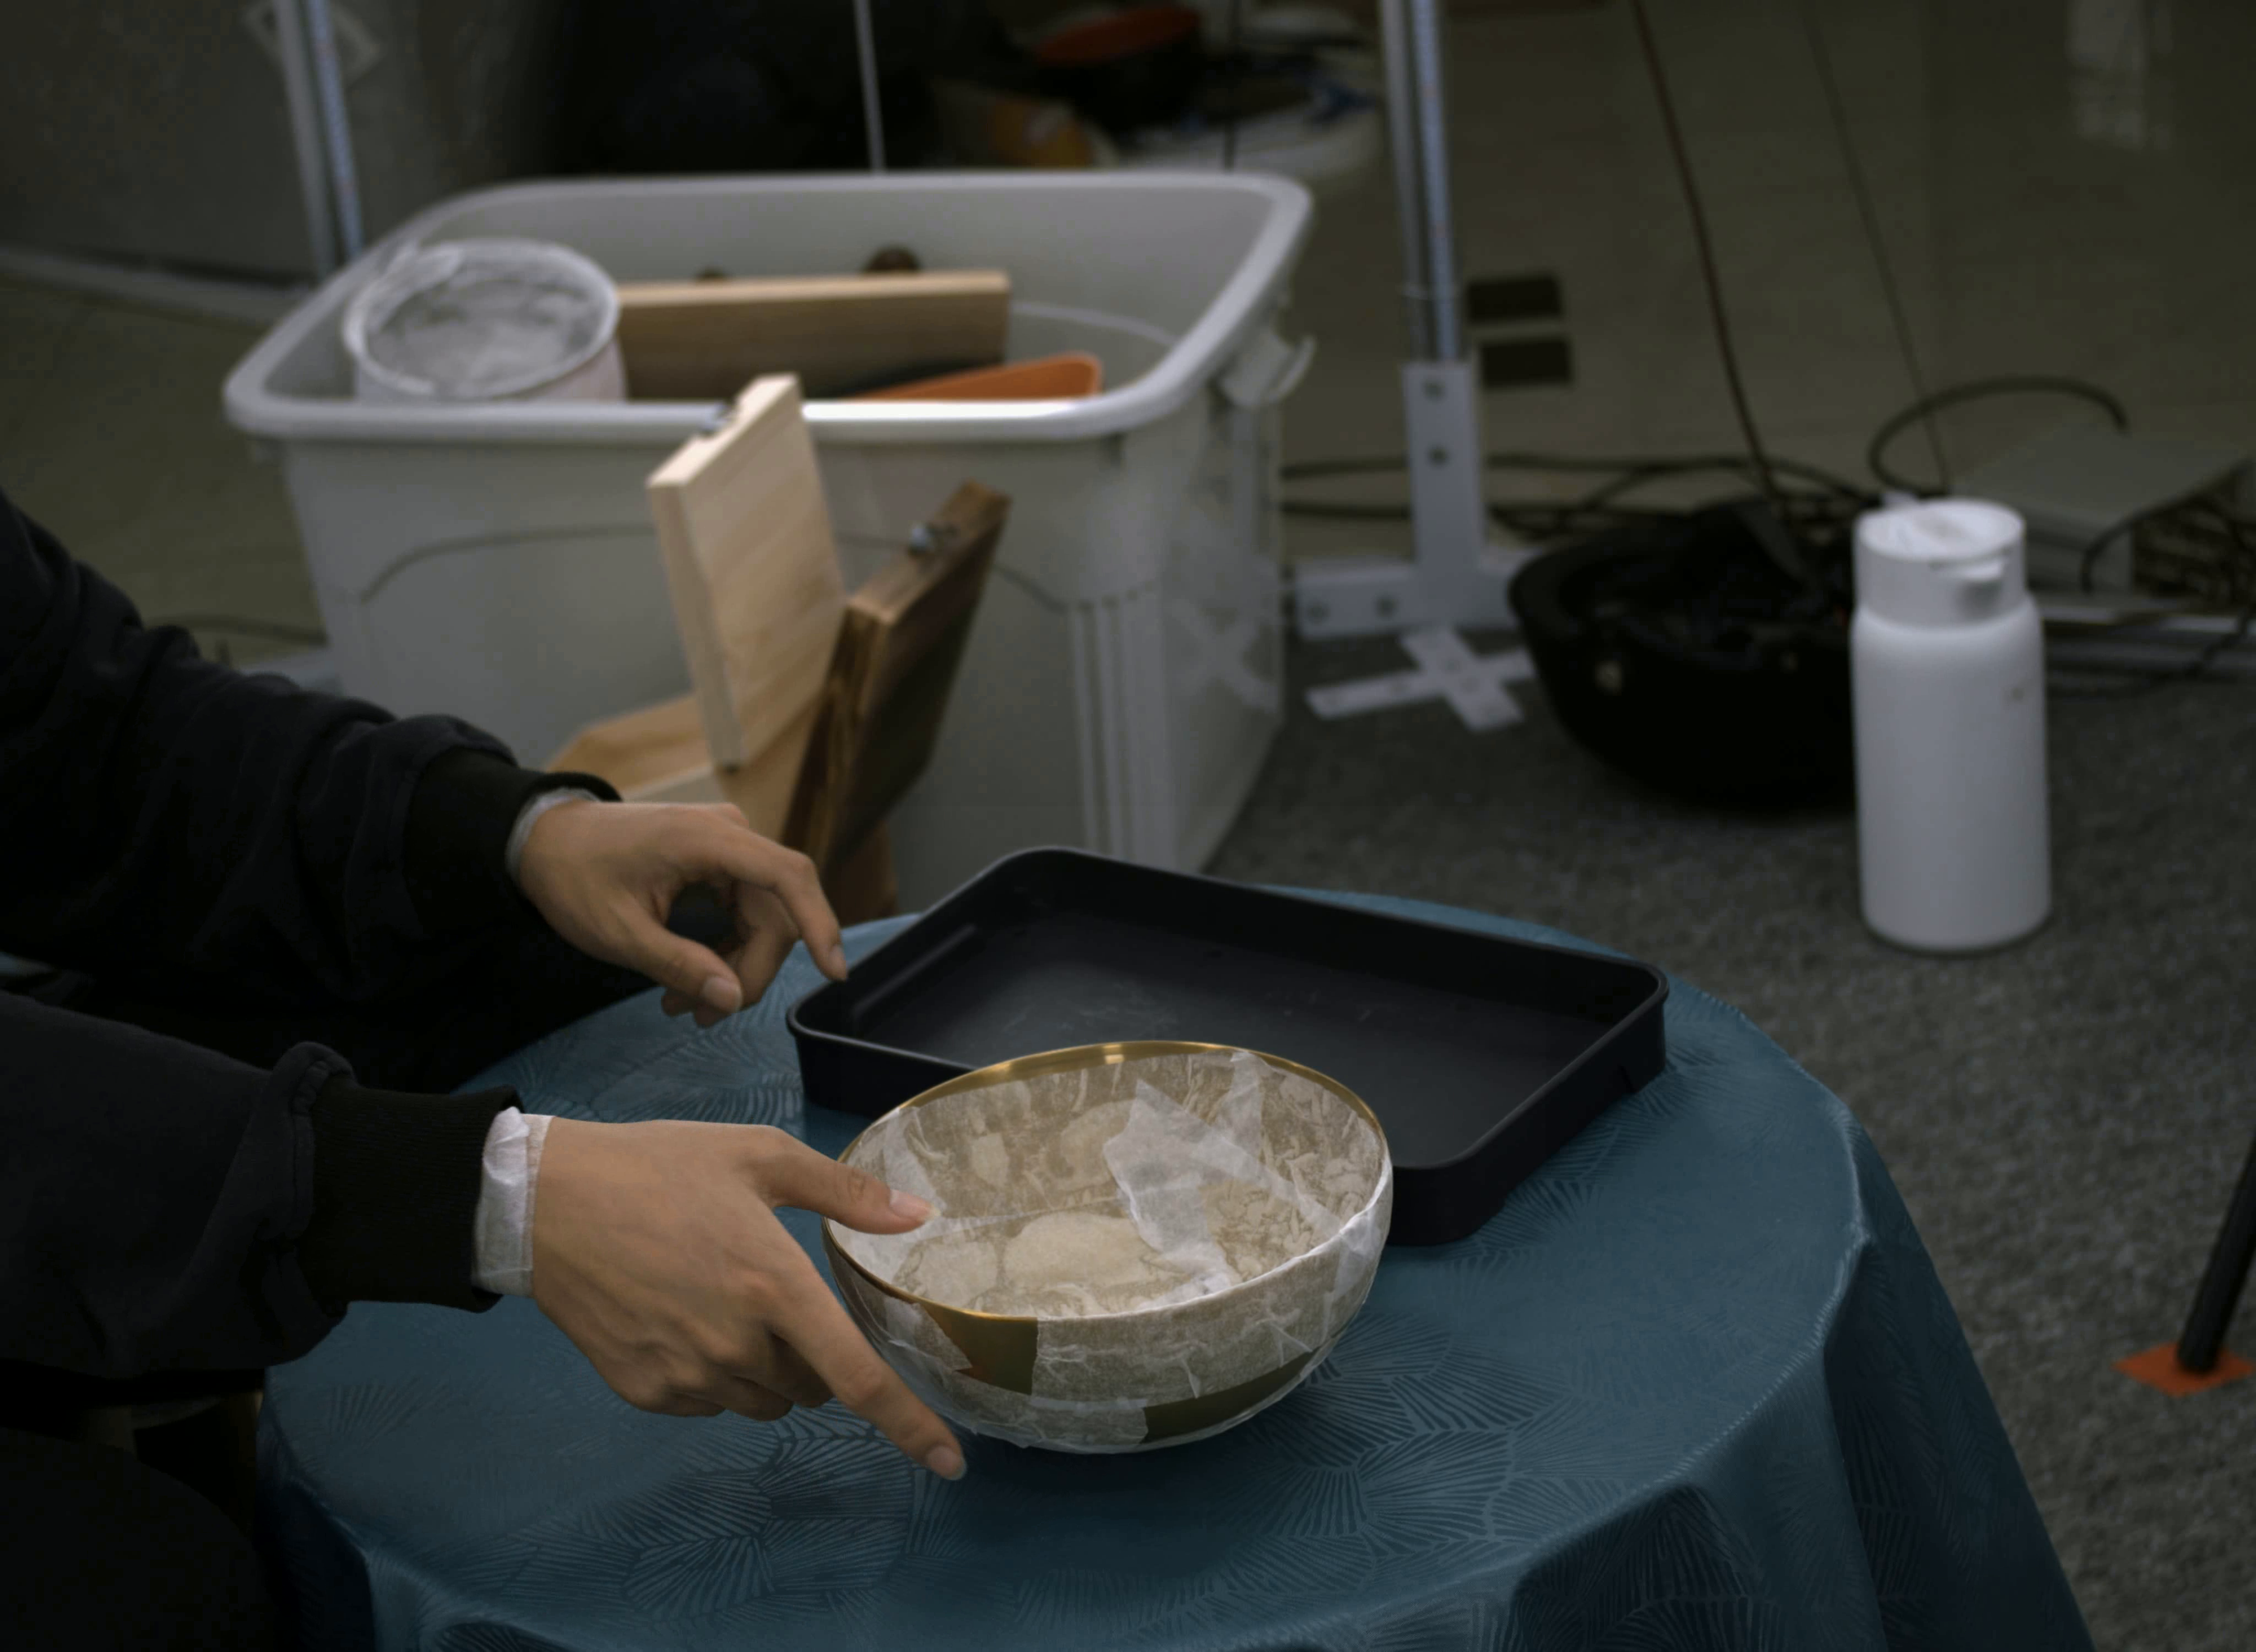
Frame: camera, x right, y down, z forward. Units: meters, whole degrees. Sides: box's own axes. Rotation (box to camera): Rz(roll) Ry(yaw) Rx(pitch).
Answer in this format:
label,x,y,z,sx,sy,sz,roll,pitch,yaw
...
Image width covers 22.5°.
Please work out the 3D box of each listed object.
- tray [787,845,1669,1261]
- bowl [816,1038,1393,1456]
label,x,y,z,sx,sy,sz,roll,pitch,yaw
tray,0.038,0.085,2.222,0.316,0.037,0.182,14,31,34
bowl,-0.005,0.159,1.999,0.214,0.096,0.211,-6,26,3
